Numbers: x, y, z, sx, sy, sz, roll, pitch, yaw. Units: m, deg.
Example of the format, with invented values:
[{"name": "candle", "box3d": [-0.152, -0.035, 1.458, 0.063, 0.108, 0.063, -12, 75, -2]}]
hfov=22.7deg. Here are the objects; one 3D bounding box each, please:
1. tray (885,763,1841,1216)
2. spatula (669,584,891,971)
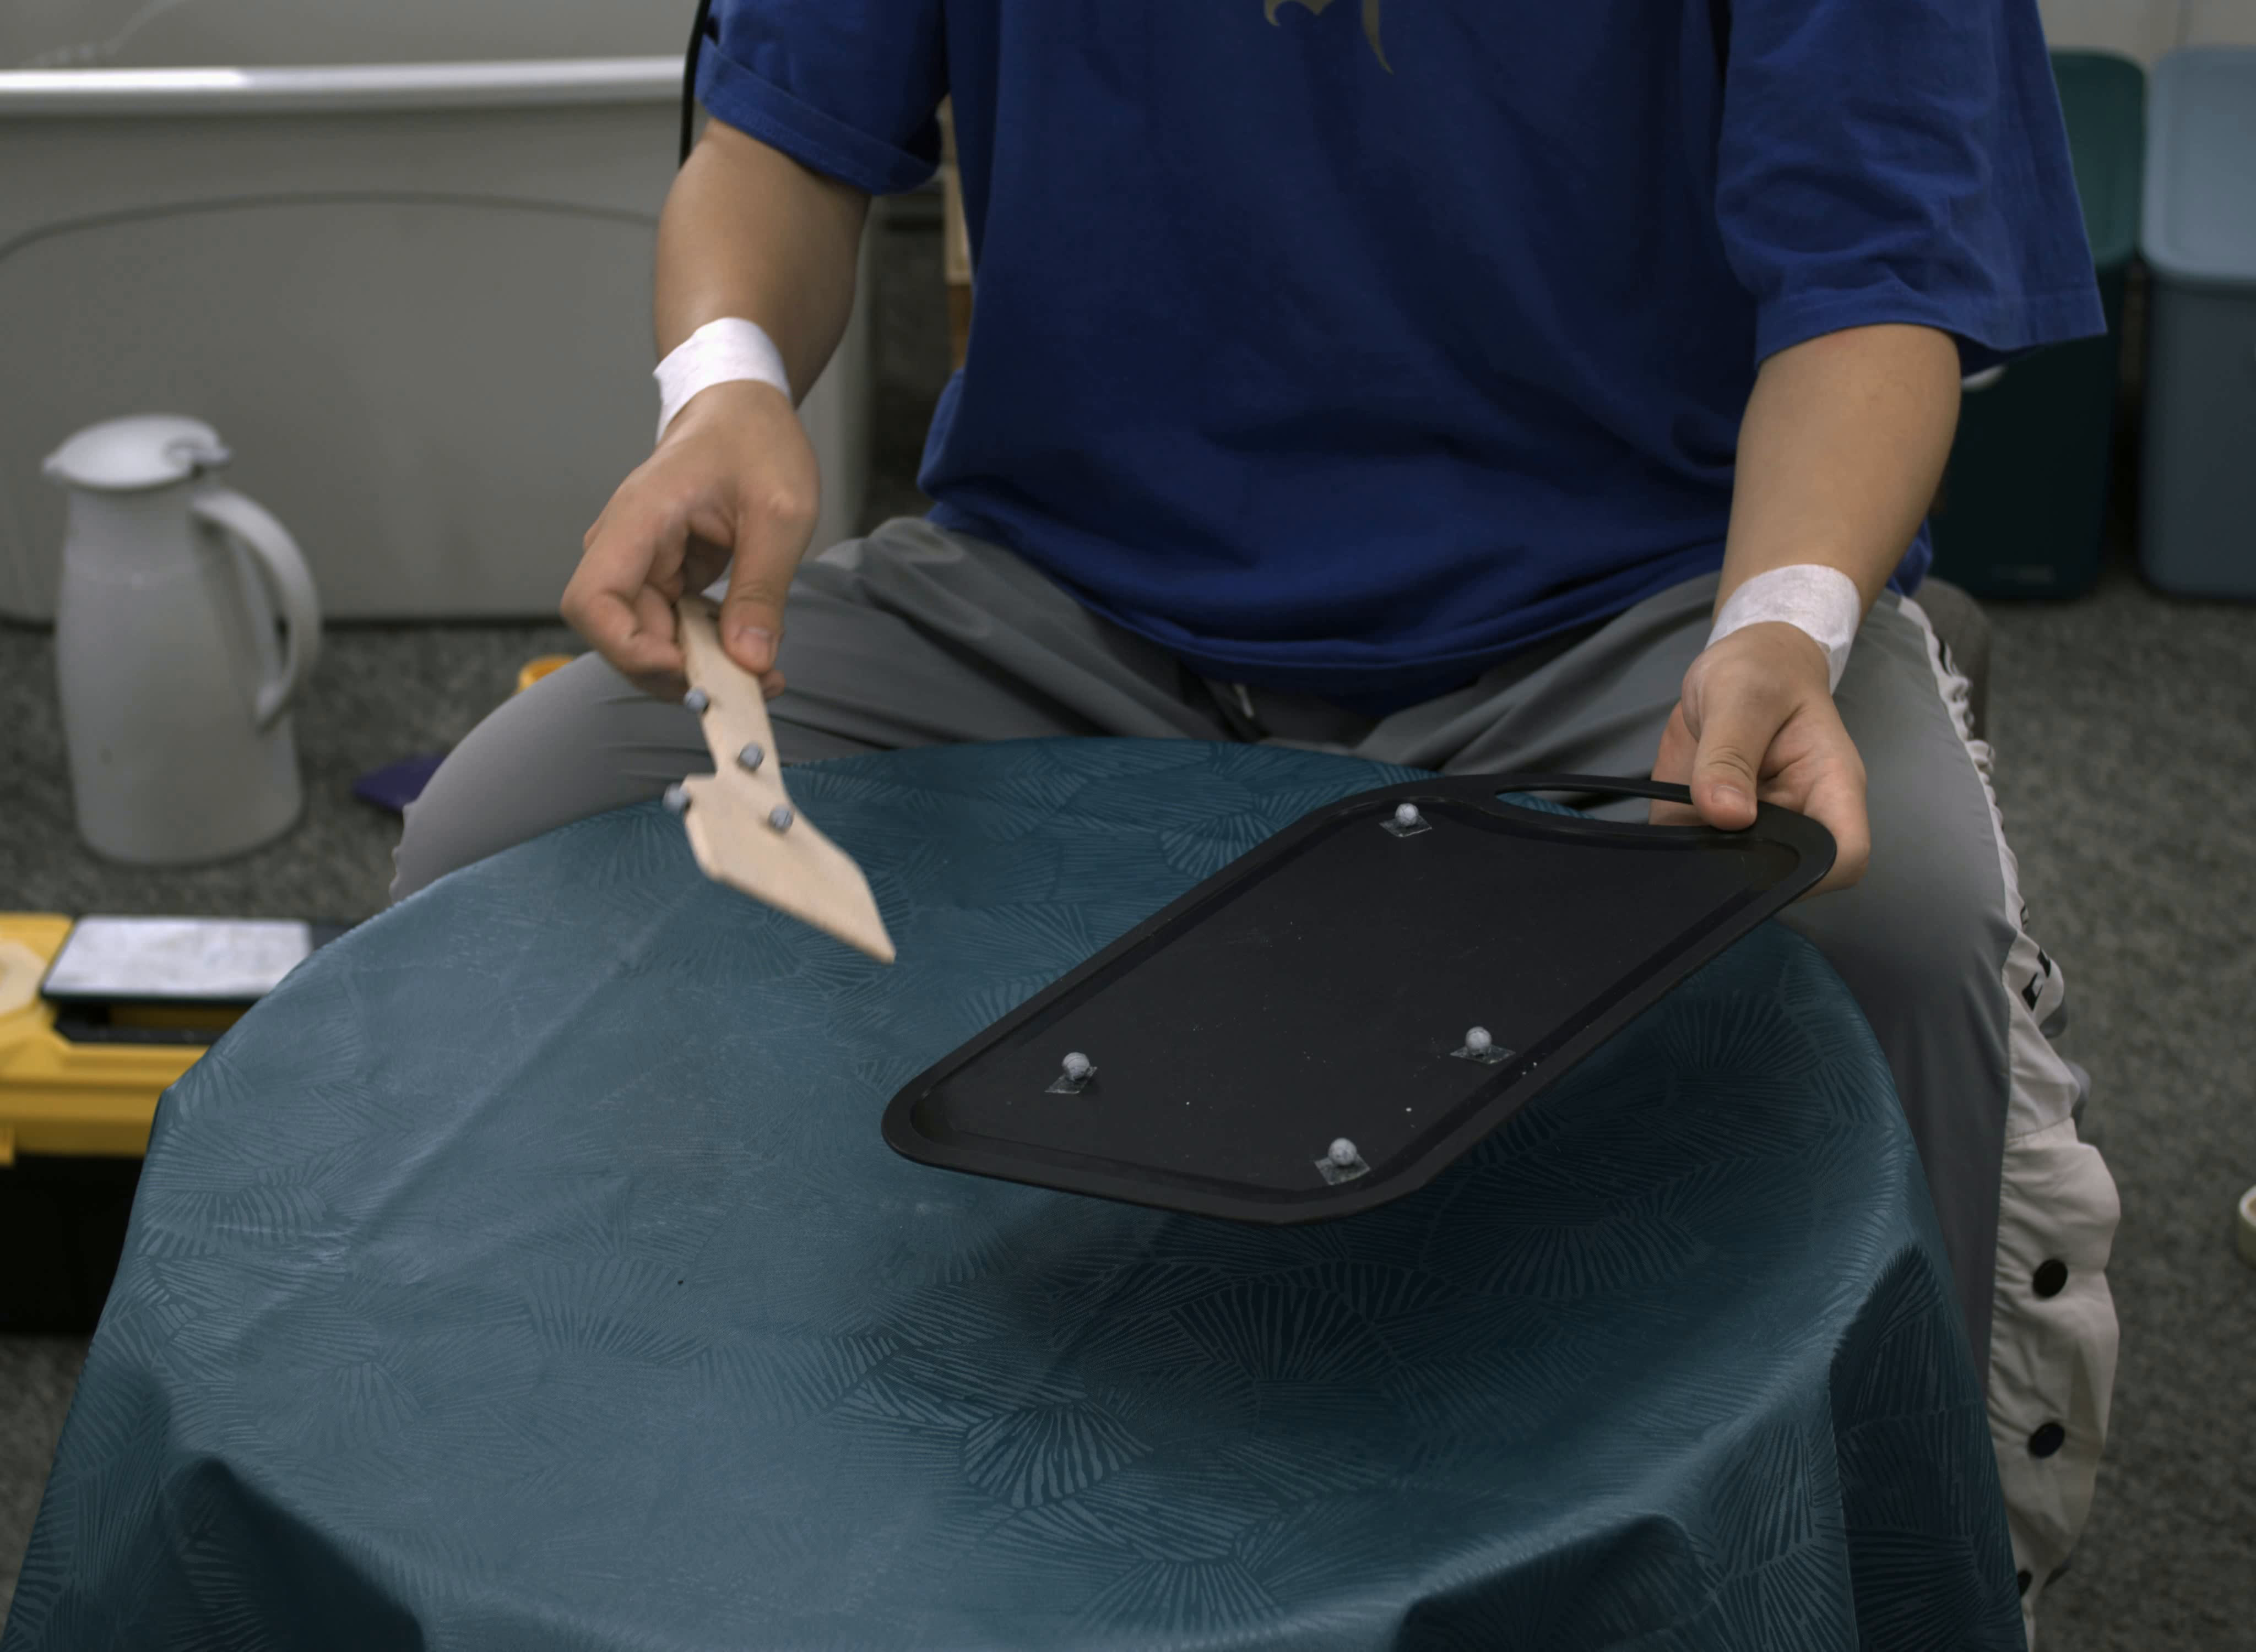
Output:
[{"name": "tray", "box3d": [0.083, 0.043, 1.818, 0.209, 0.010, 0.330, 7, 27, 39]}, {"name": "spatula", "box3d": [-0.132, -0.025, 1.934, 0.072, 0.010, 0.296, 27, 16, -21]}]
